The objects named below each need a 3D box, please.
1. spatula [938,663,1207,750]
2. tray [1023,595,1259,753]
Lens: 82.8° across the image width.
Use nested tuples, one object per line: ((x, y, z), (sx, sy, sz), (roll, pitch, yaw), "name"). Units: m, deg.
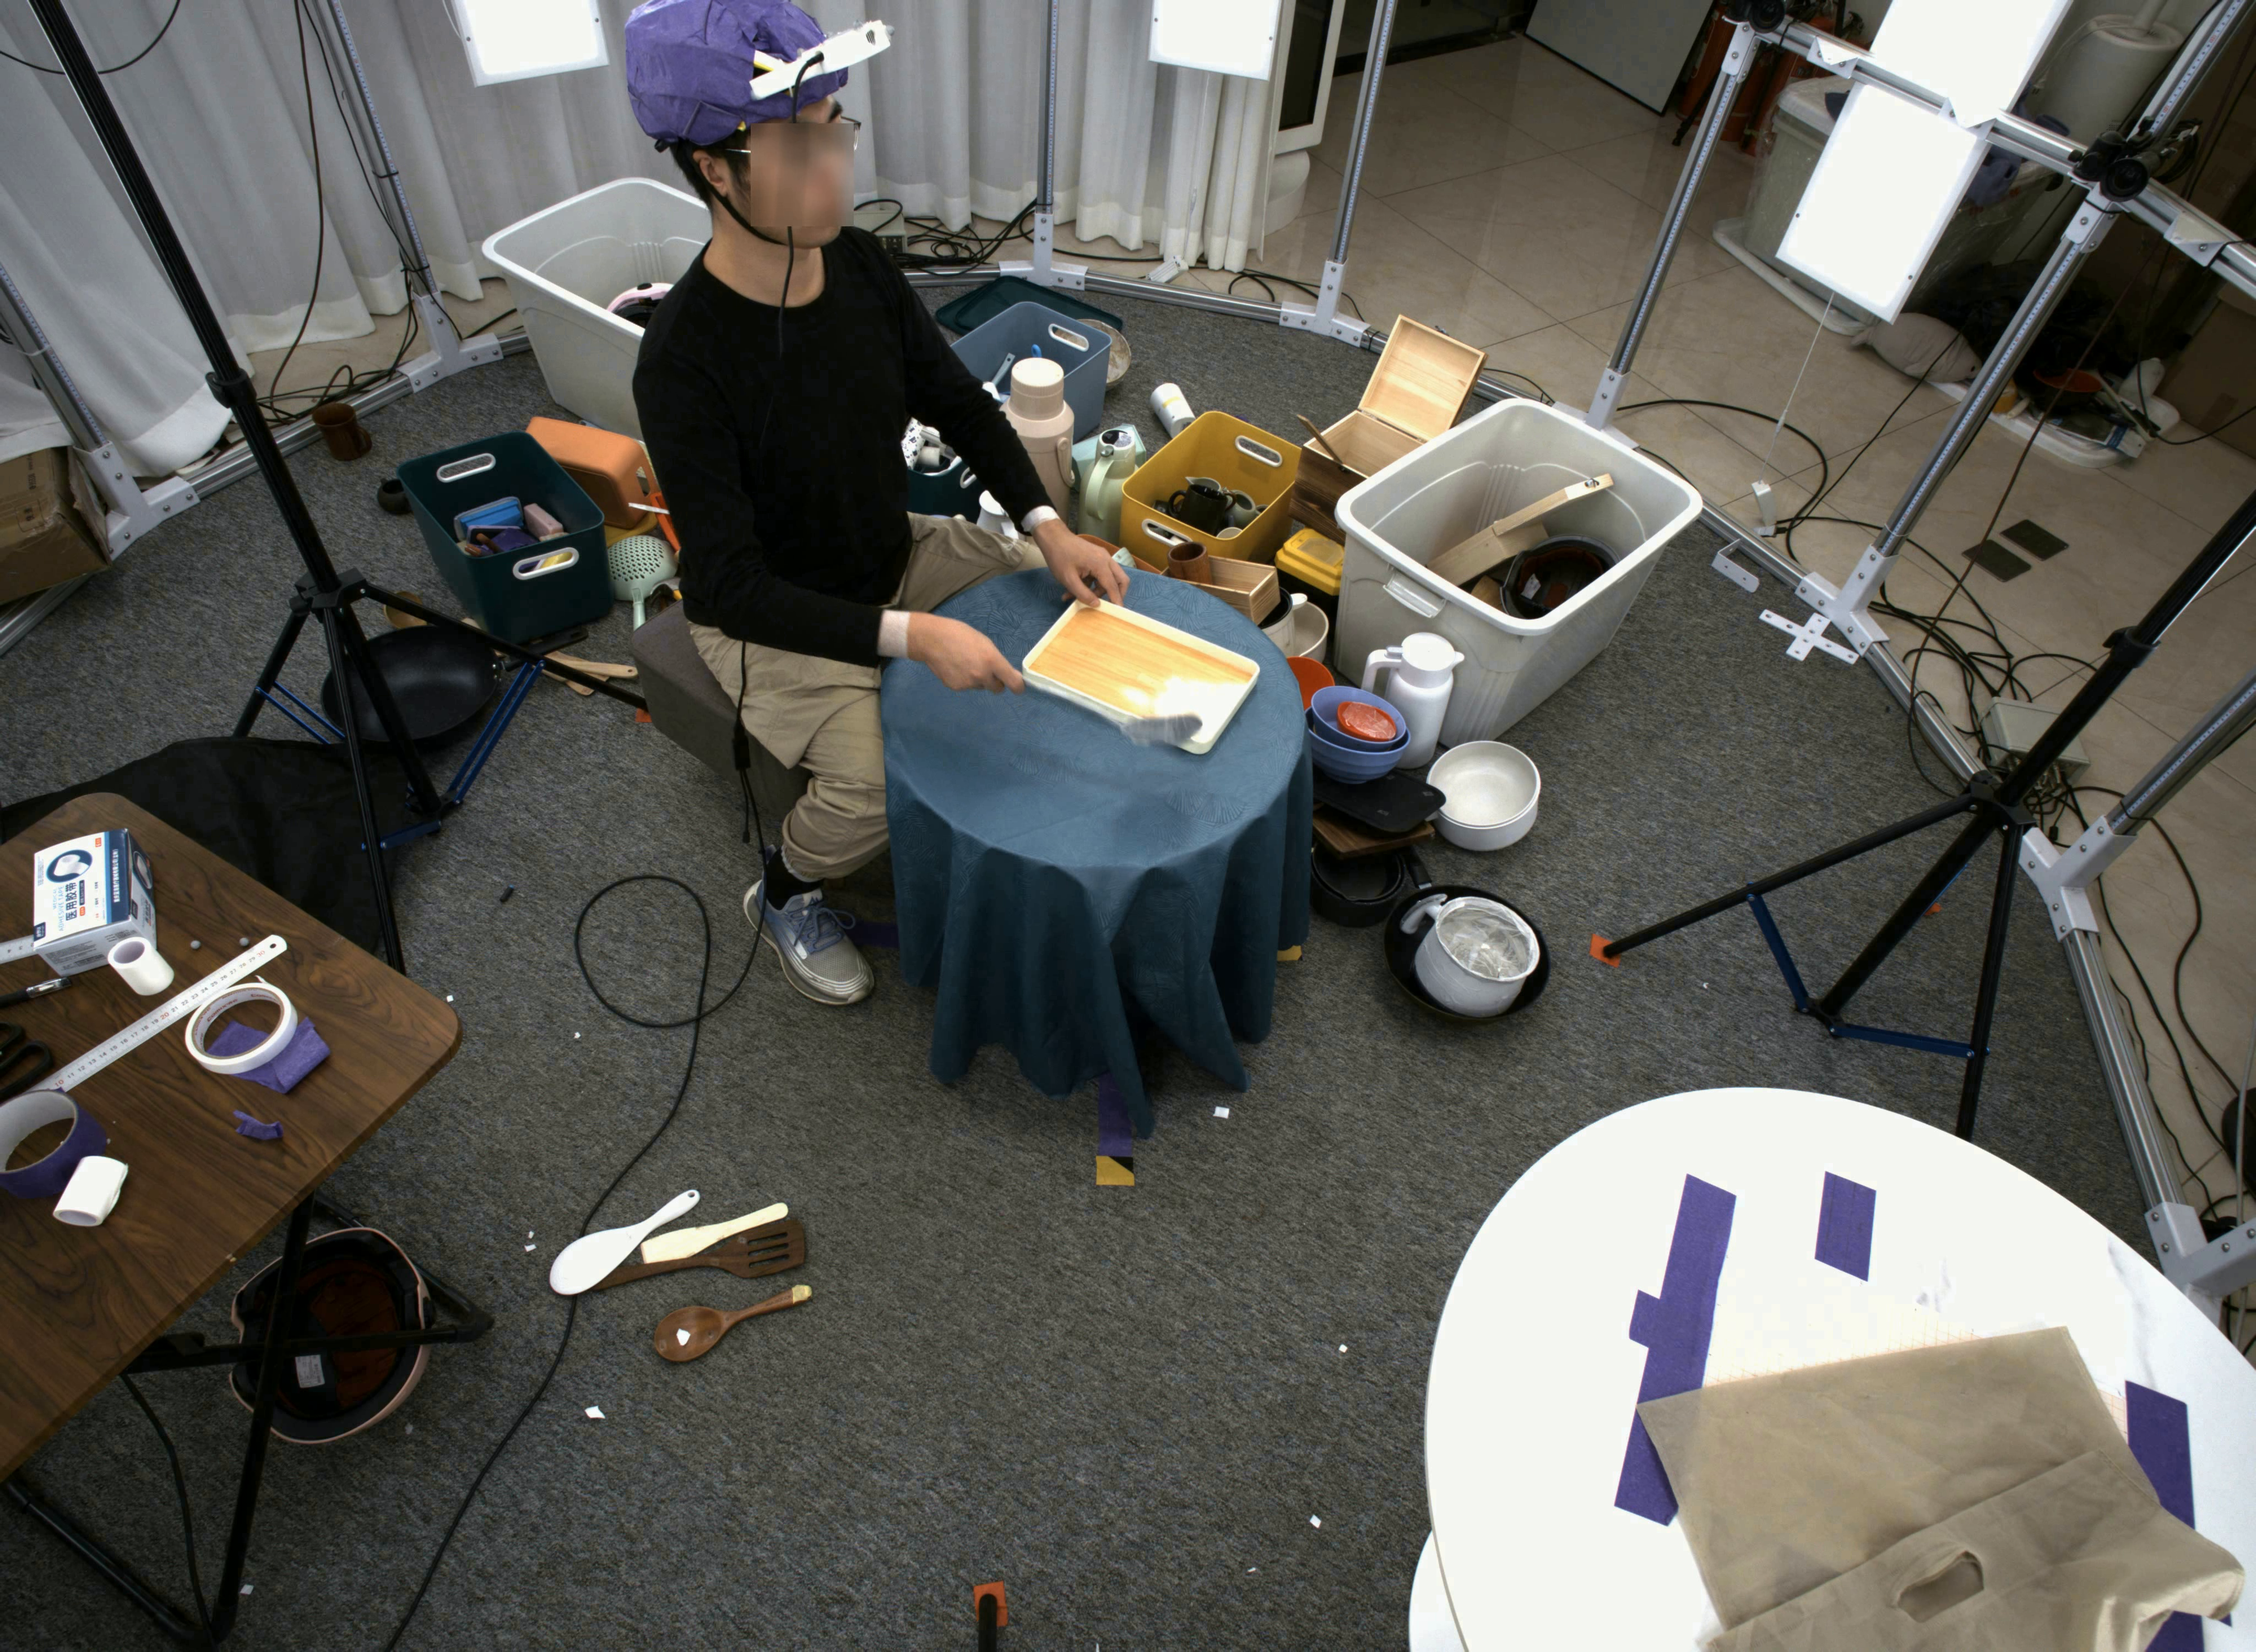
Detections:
((-0.075, -0.163, 1.669), (0.366, 0.097, 0.045), (22, 76, 9), "spatula")
((0.019, -0.223, 1.847), (0.302, 0.027, 0.195), (25, 52, 17), "tray")
